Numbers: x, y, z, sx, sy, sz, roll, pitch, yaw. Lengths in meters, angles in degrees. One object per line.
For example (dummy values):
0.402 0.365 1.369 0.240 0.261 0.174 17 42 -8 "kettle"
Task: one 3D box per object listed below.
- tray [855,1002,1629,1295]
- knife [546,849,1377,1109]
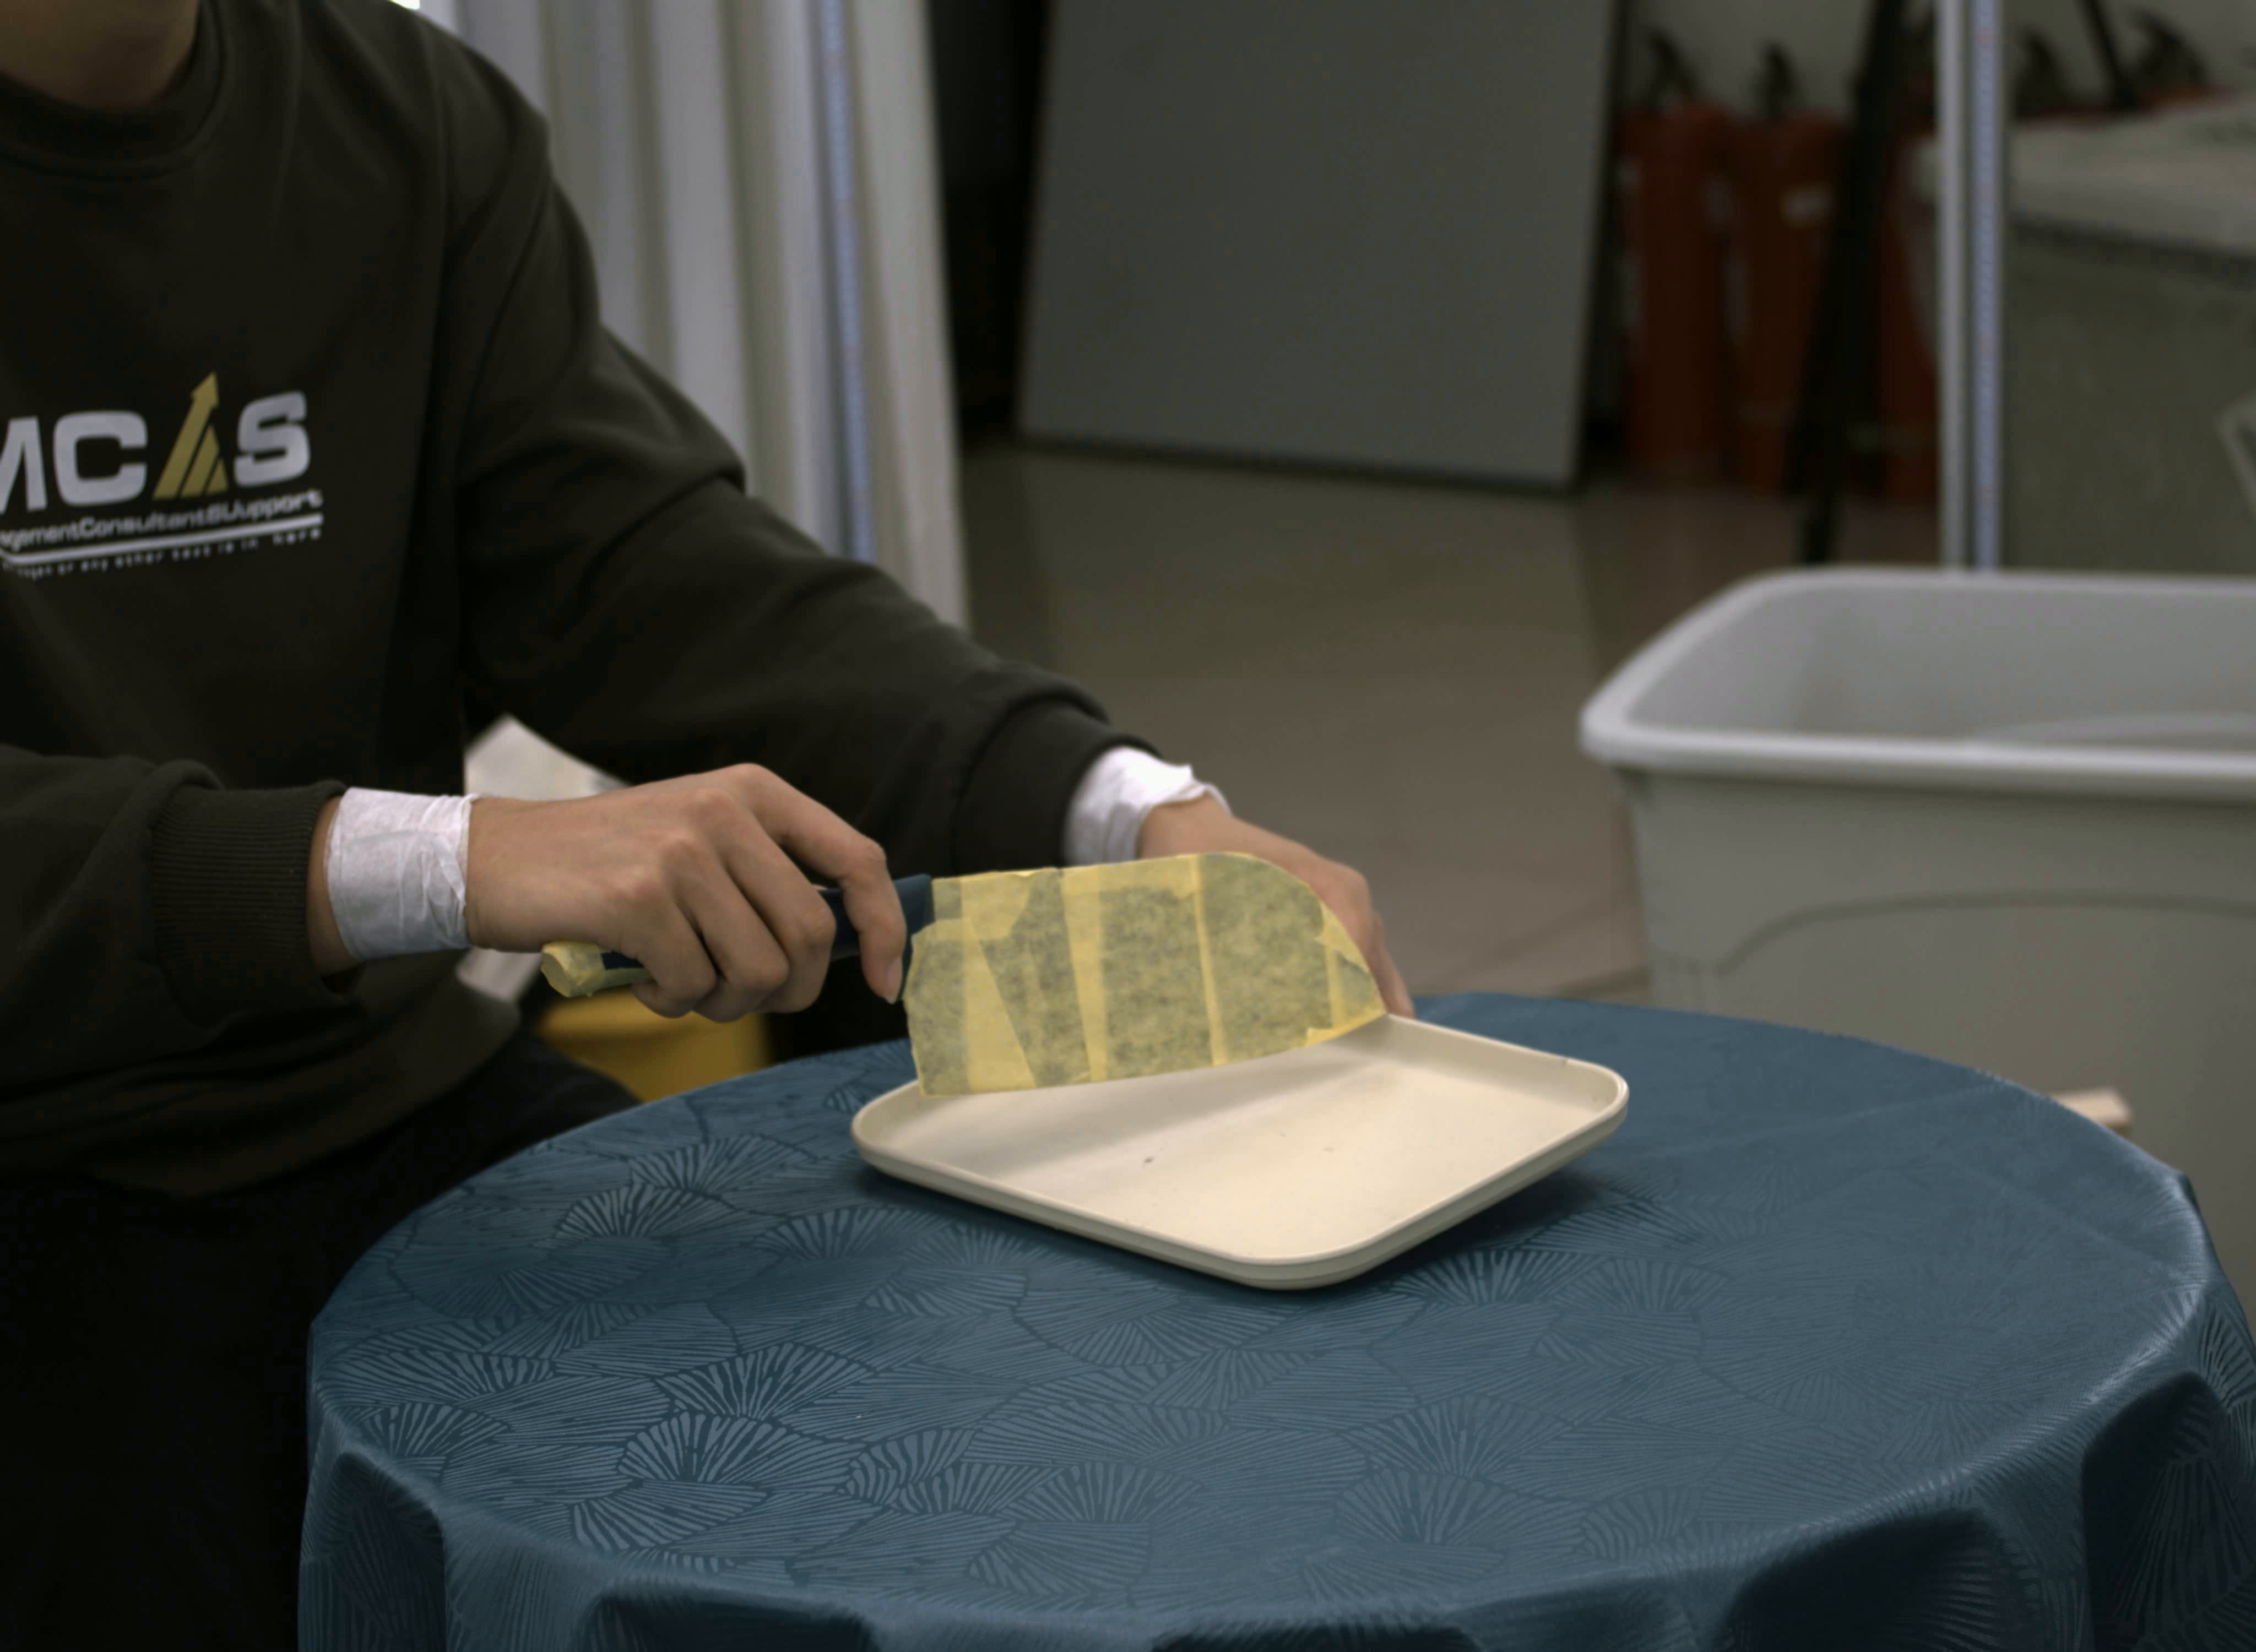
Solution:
0.036 0.100 1.776 0.168 0.017 0.242 -25 24 -36 "tray"
-0.050 0.051 1.772 0.283 0.082 0.027 -3 -10 -18 "knife"
